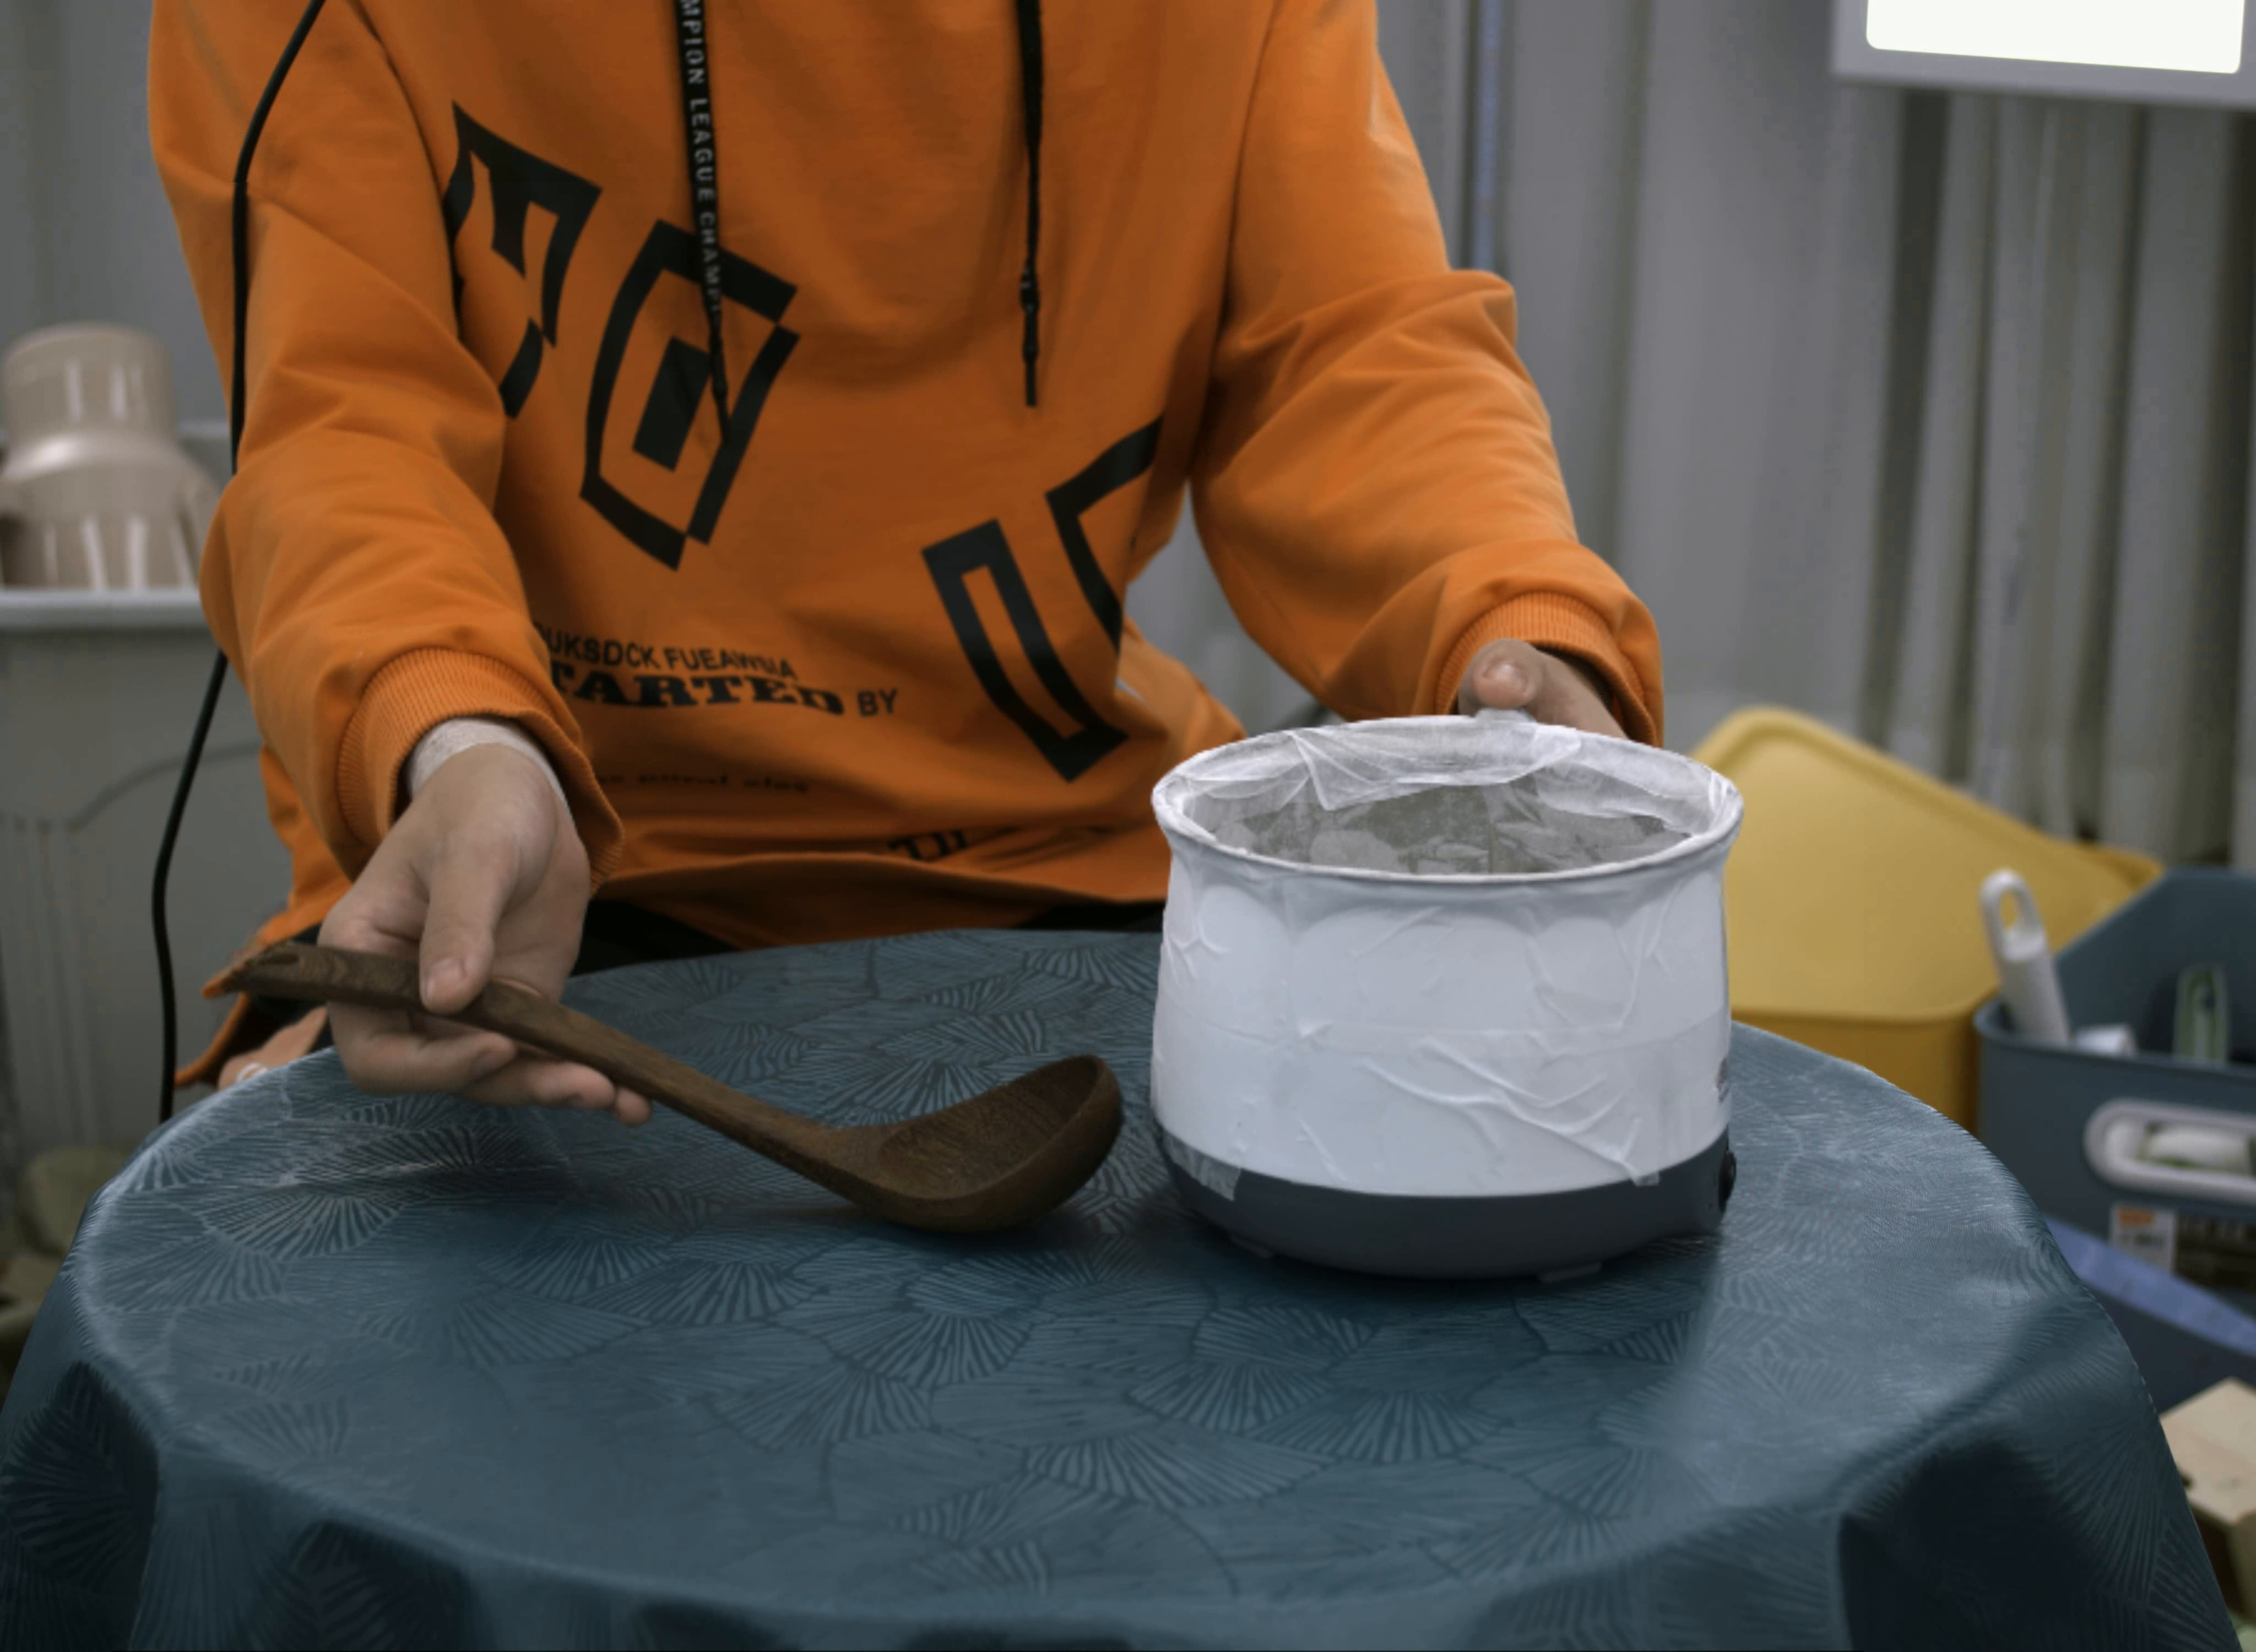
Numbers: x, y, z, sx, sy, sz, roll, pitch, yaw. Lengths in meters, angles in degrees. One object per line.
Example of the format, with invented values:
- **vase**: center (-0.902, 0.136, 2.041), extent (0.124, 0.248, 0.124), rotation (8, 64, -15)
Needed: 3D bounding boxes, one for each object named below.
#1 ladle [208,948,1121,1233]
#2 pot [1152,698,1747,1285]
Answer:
- **ladle**: center (-0.138, 0.060, 1.583), extent (0.273, 0.072, 0.075), rotation (19, 22, -2)
- **pot**: center (0.101, 0.044, 1.613), extent (0.177, 0.138, 0.233), rotation (4, 17, 11)
